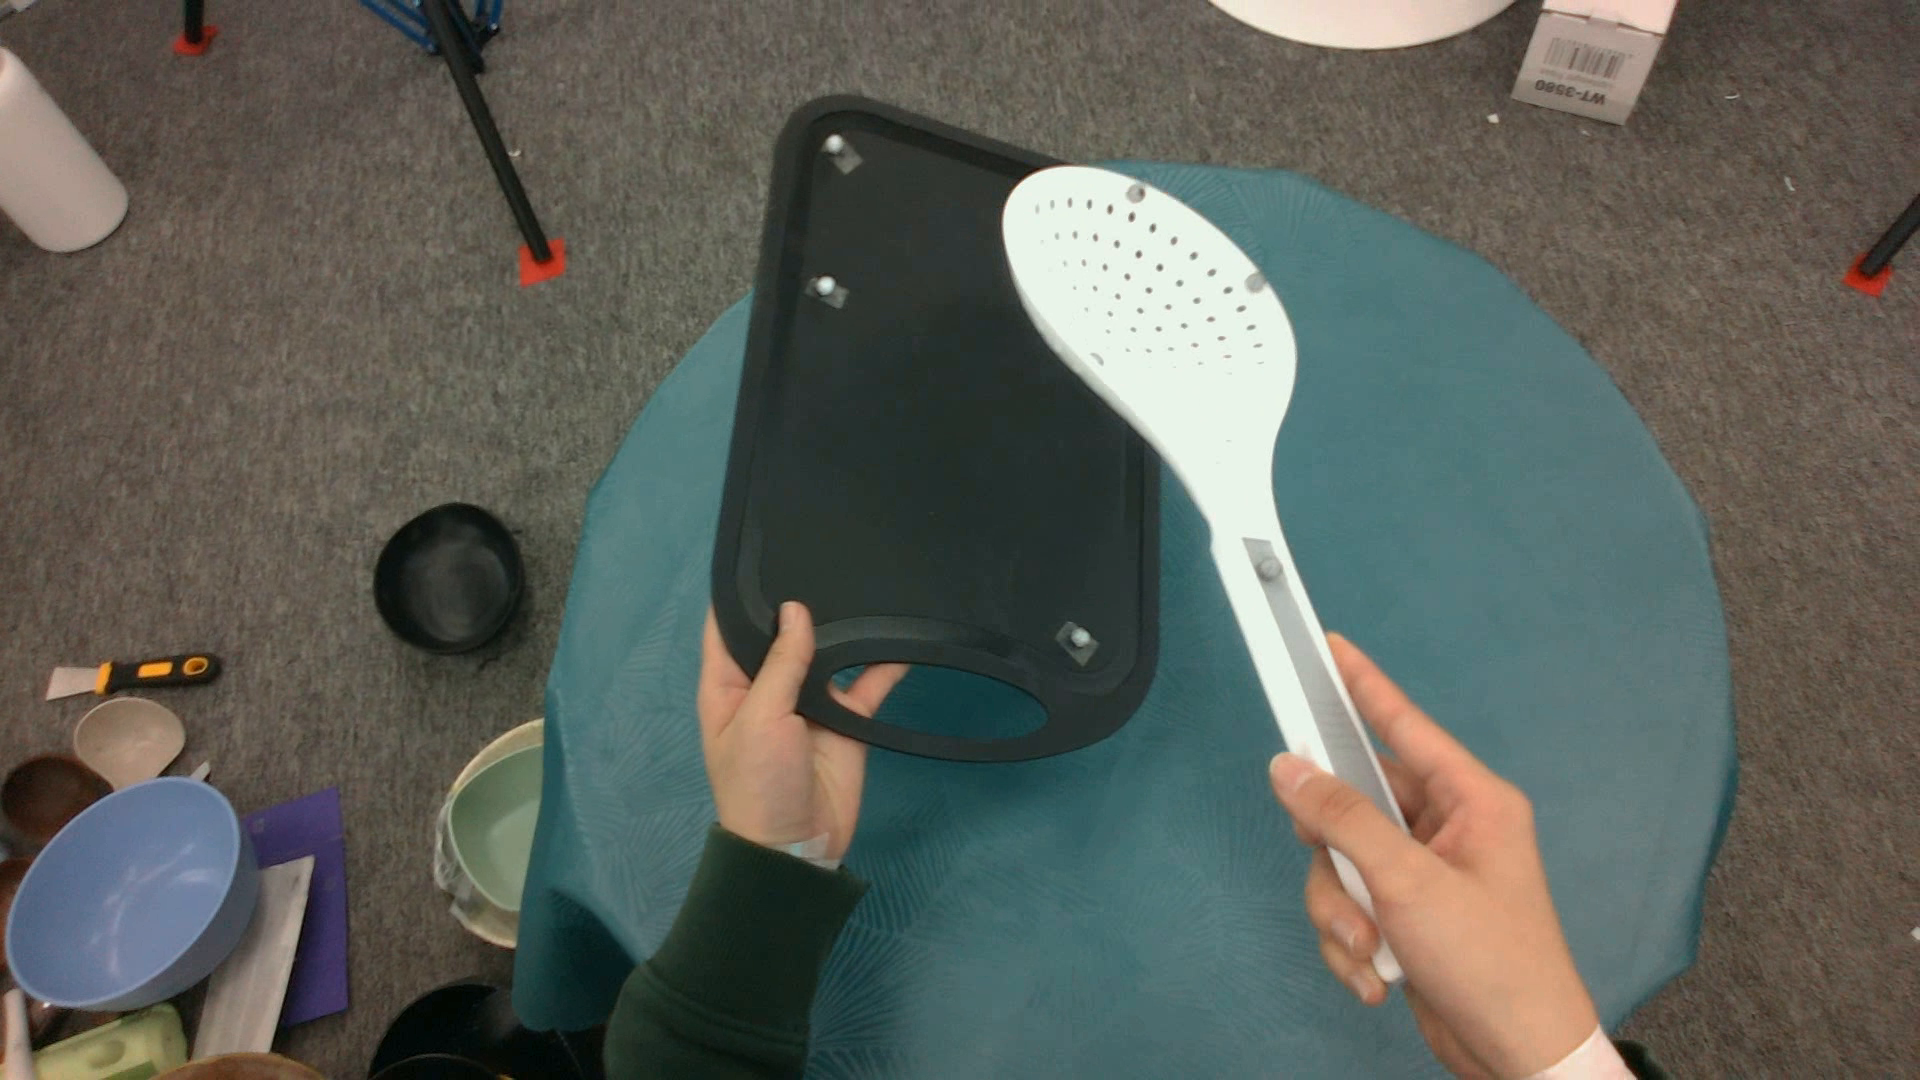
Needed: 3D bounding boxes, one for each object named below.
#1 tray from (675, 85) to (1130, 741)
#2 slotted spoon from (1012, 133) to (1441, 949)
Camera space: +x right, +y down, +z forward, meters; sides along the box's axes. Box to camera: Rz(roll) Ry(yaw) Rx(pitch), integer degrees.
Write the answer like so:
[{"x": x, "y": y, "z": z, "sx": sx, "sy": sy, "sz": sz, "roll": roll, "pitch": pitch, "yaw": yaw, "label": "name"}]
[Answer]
[{"x": -0.016, "y": -0.067, "z": 0.639, "sx": 0.211, "sy": 0.010, "sz": 0.326, "roll": 11, "pitch": 64, "yaw": -19, "label": "tray"}, {"x": 0.103, "y": -0.023, "z": 0.511, "sx": 0.136, "sy": 0.045, "sz": 0.351, "roll": 2, "pitch": 51, "yaw": -24, "label": "slotted spoon"}]
